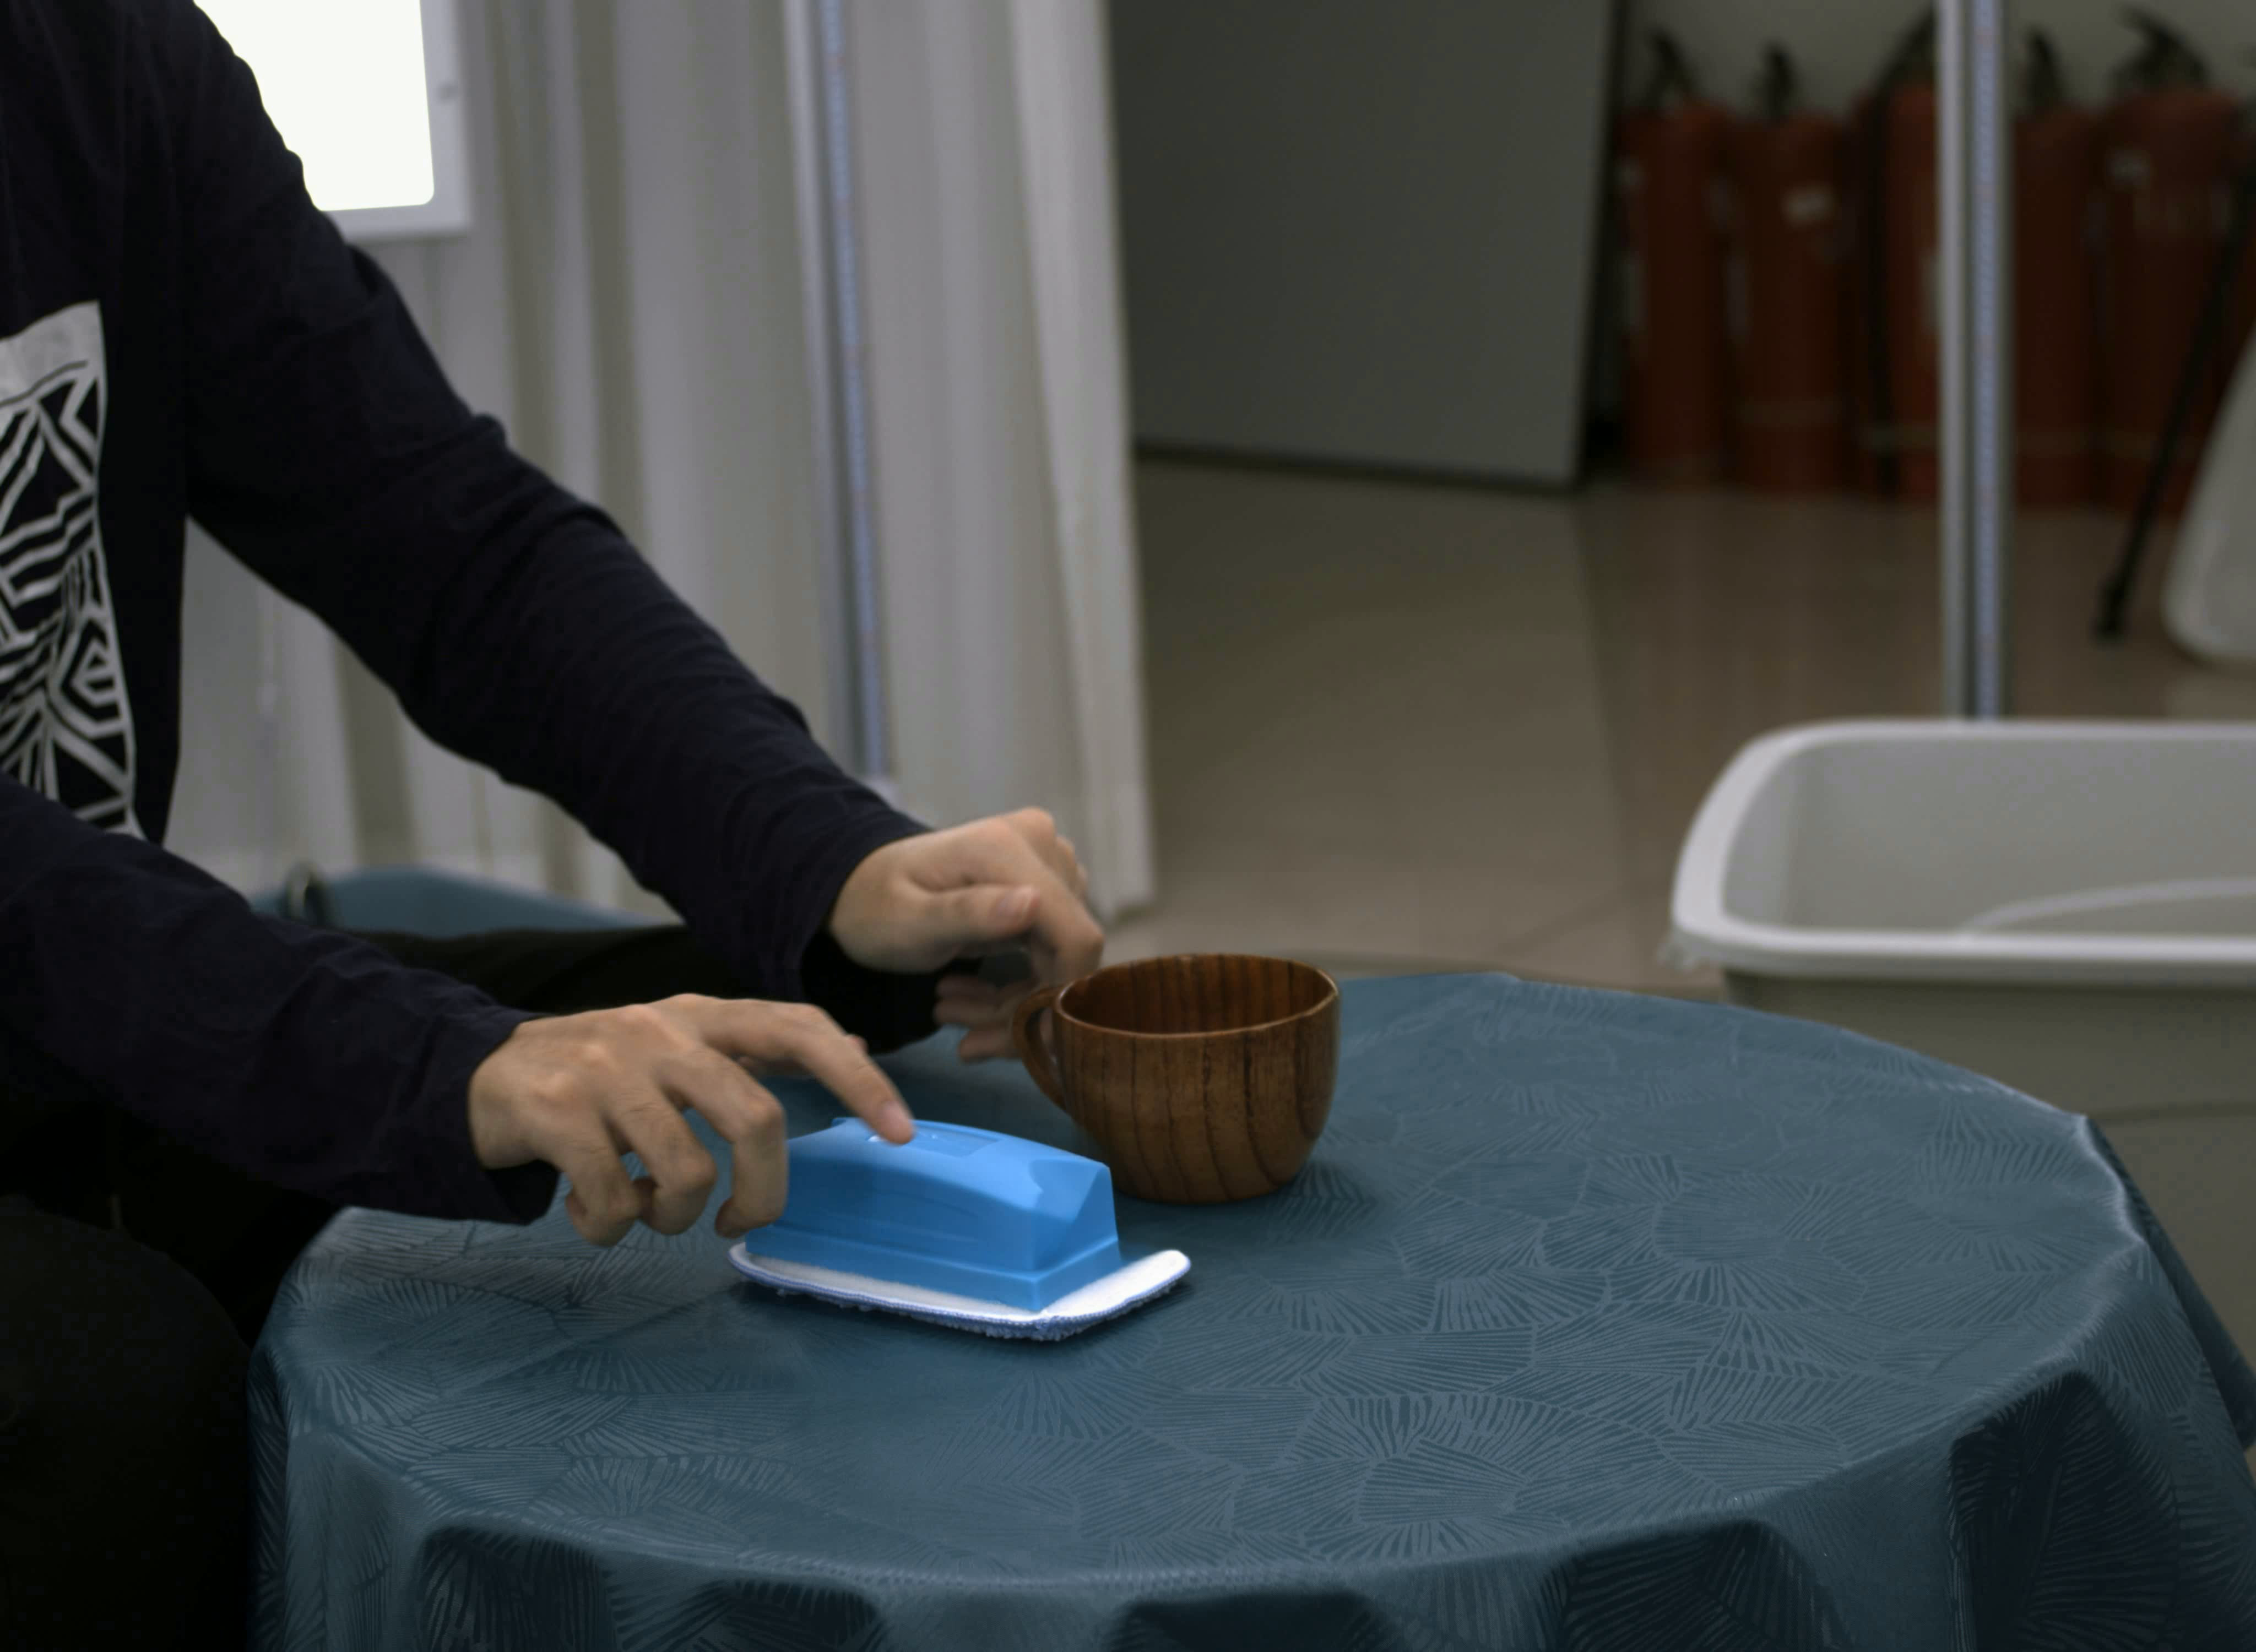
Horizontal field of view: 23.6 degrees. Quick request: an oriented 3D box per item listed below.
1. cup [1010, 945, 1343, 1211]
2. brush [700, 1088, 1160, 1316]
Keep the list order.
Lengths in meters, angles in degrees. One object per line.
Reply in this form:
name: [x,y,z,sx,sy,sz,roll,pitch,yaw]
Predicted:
cup: [0.016,0.085,1.783,0.120,0.068,0.095,1,18,31]
brush: [-0.062,0.116,1.688,0.145,0.056,0.082,11,17,40]
